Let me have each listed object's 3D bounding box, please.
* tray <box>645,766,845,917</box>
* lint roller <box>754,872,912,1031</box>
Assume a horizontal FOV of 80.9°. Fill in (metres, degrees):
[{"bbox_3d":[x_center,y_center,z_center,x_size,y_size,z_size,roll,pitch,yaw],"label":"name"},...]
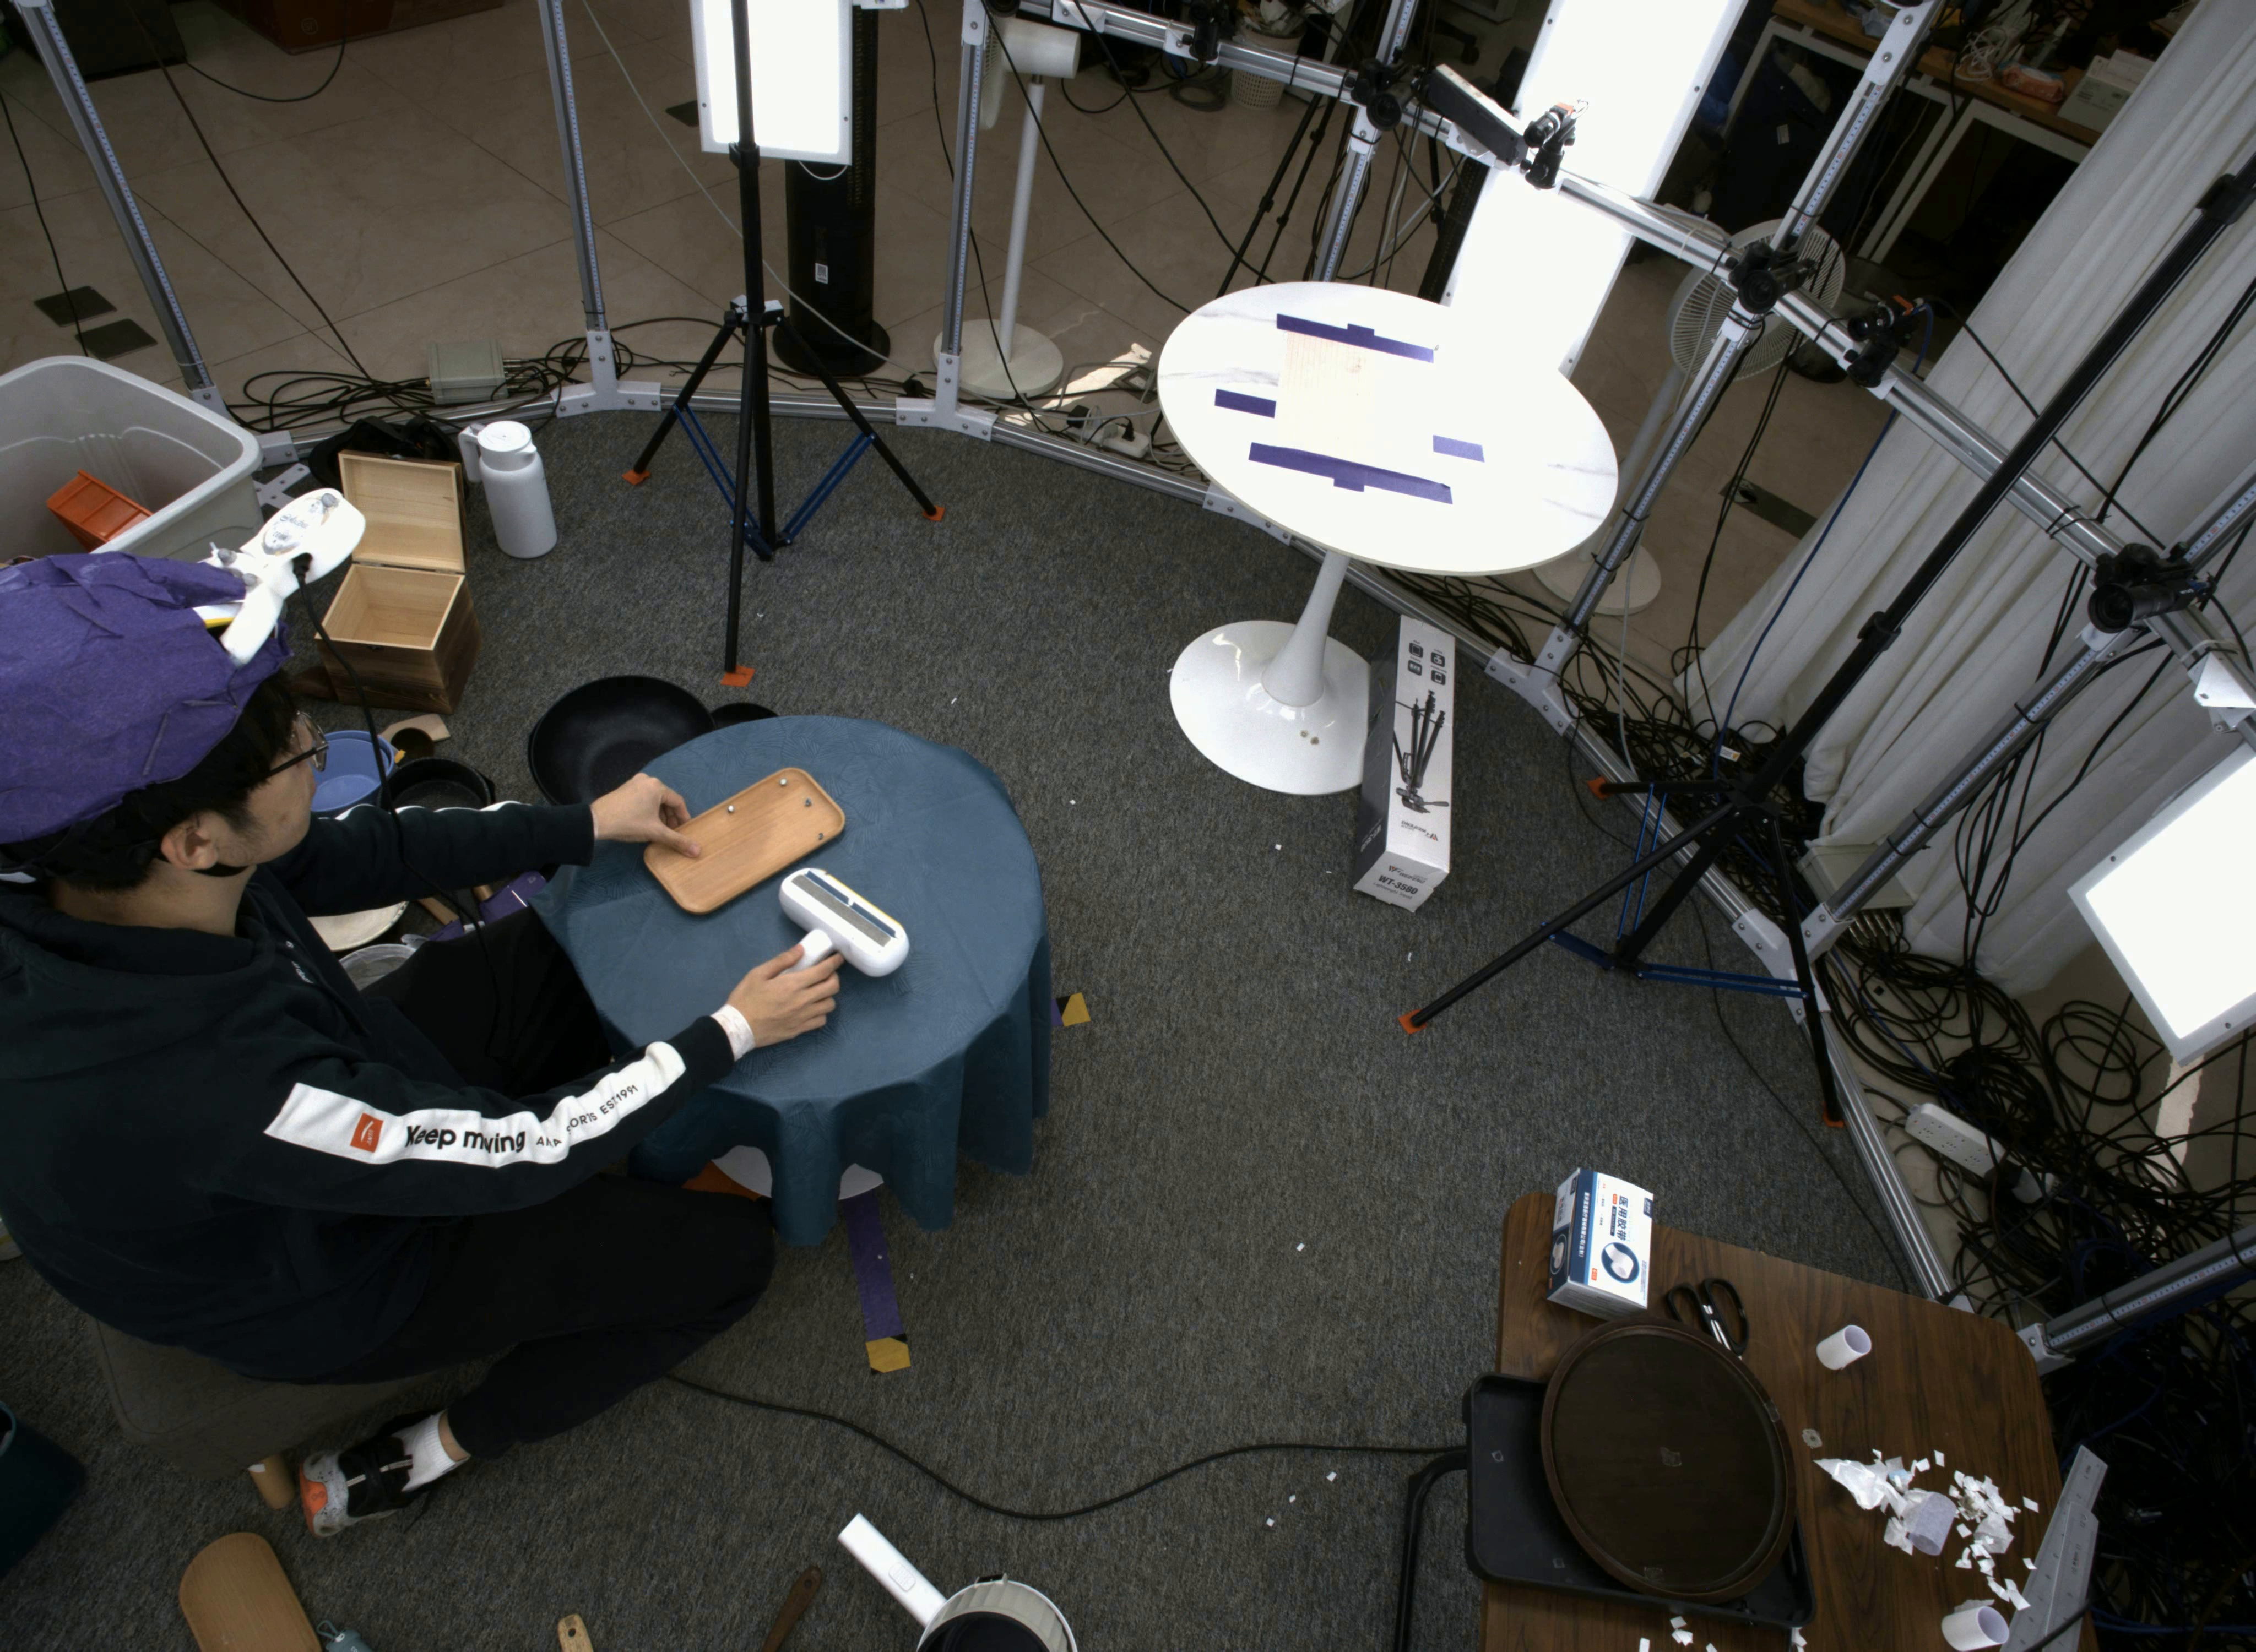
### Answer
[{"bbox_3d":[-0.496,0.016,1.683,0.251,0.023,0.128,-35,71,-32],"label":"tray"},{"bbox_3d":[-0.386,0.166,1.597,0.187,0.076,0.192,37,69,24],"label":"lint roller"}]
